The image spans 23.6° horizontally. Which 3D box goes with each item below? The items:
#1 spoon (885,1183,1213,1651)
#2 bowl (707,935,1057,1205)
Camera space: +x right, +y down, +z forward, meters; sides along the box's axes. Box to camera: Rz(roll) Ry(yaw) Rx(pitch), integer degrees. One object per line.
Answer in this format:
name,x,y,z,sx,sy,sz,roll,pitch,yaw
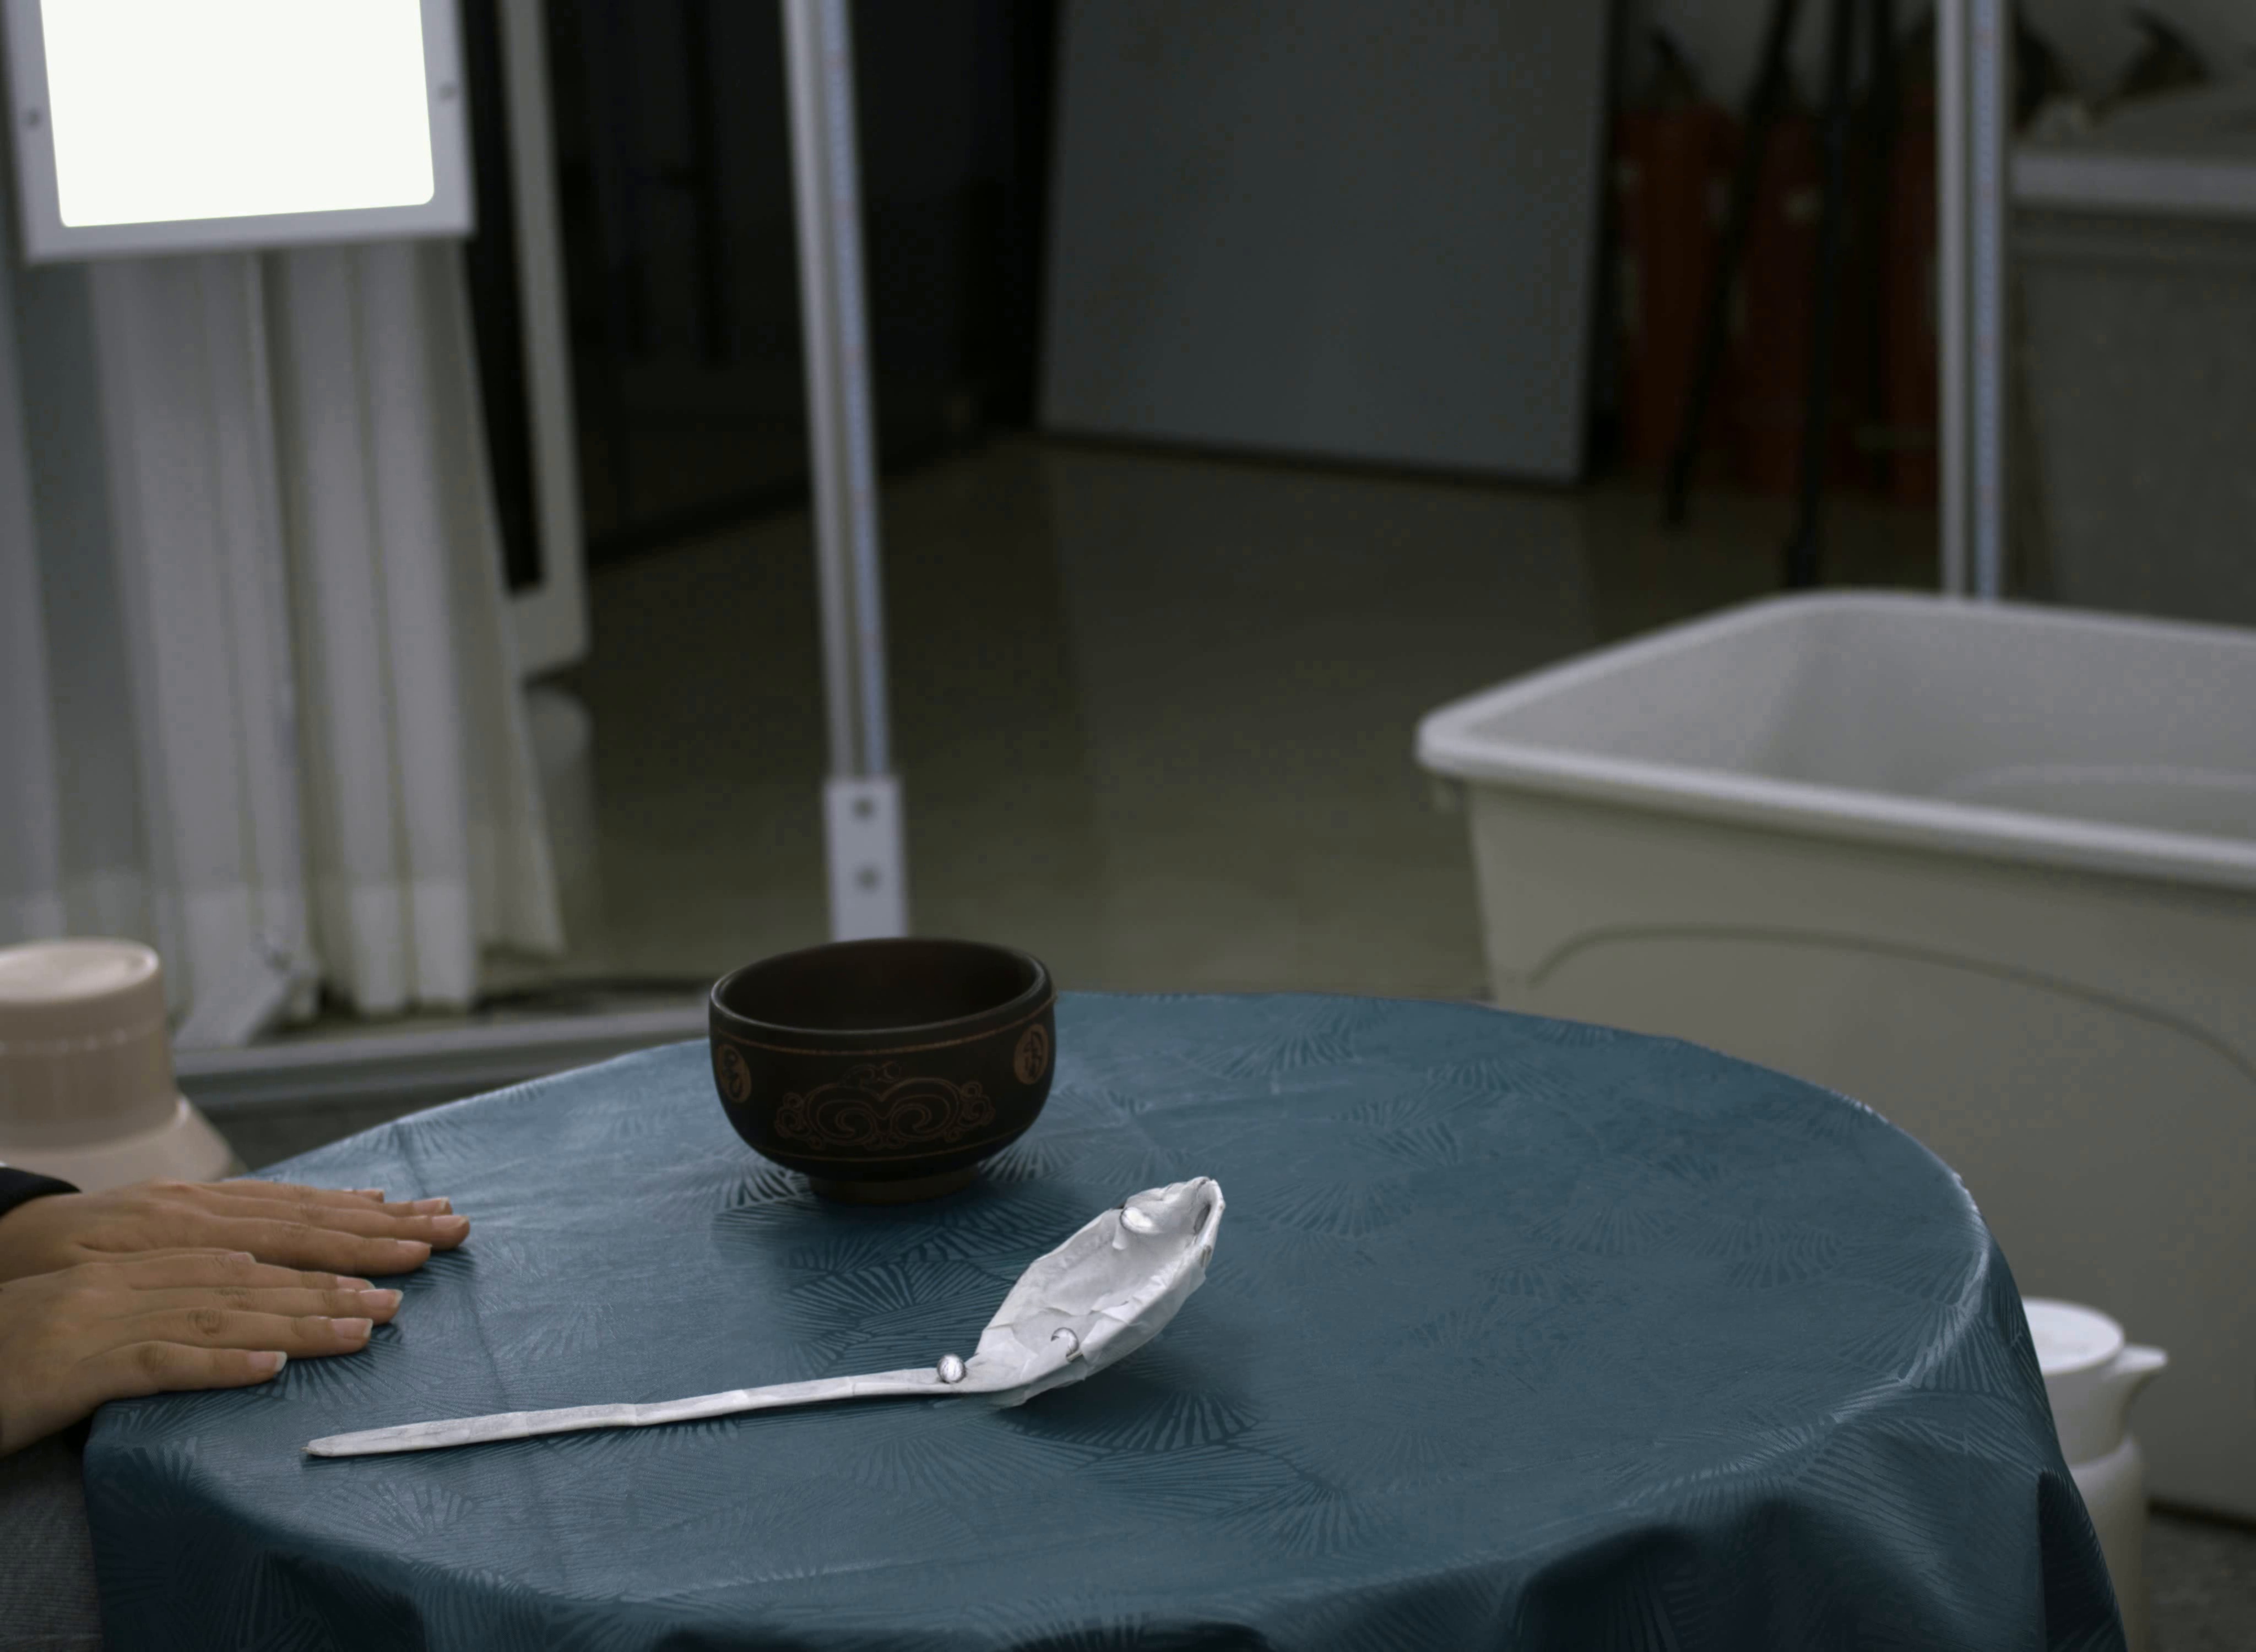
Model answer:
spoon,-0.037,0.229,1.578,0.058,0.280,0.101,20,-18,-19
bowl,-0.080,0.084,1.791,0.116,0.070,0.118,-4,13,0
